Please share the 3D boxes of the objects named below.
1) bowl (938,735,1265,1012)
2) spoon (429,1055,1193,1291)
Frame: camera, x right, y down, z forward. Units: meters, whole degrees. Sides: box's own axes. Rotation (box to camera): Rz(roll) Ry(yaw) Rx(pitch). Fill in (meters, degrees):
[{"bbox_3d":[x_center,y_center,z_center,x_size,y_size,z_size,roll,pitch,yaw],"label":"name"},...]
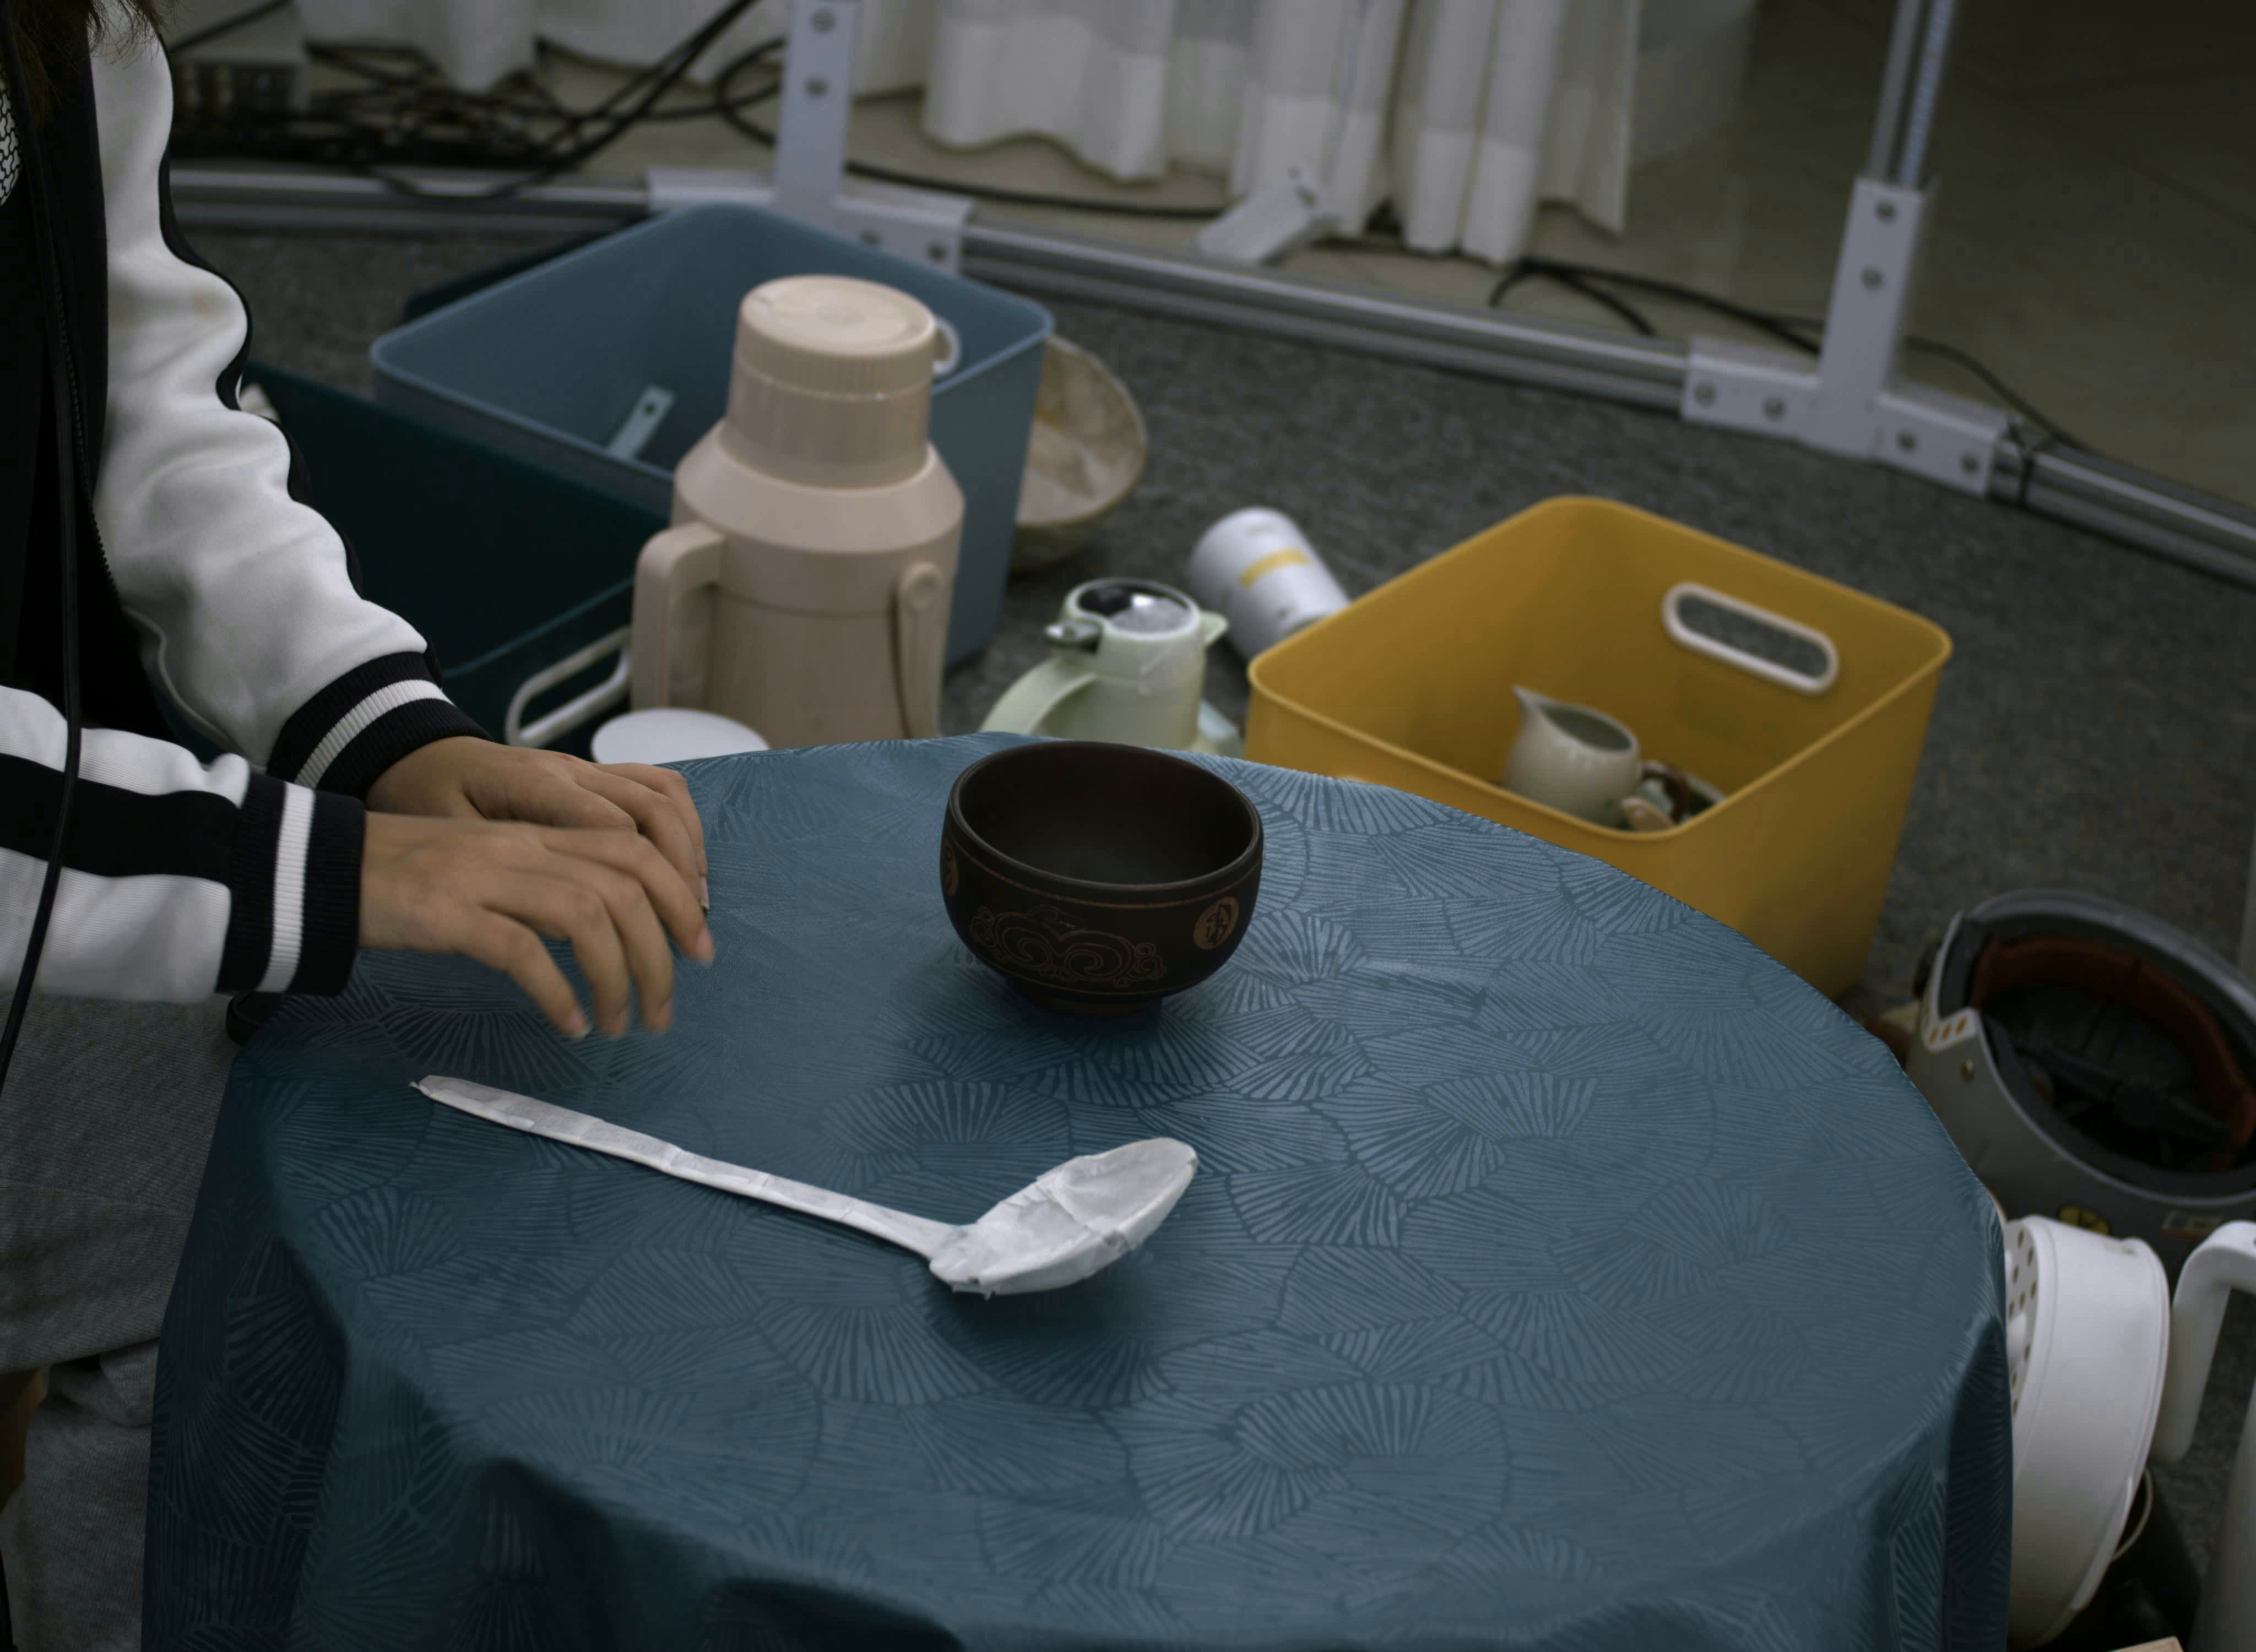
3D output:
[{"bbox_3d":[-0.011,0.023,1.915,0.117,0.069,0.119,5,26,-3],"label":"bowl"},{"bbox_3d":[-0.109,0.096,1.768,0.278,0.059,0.100,18,25,21],"label":"spoon"}]
